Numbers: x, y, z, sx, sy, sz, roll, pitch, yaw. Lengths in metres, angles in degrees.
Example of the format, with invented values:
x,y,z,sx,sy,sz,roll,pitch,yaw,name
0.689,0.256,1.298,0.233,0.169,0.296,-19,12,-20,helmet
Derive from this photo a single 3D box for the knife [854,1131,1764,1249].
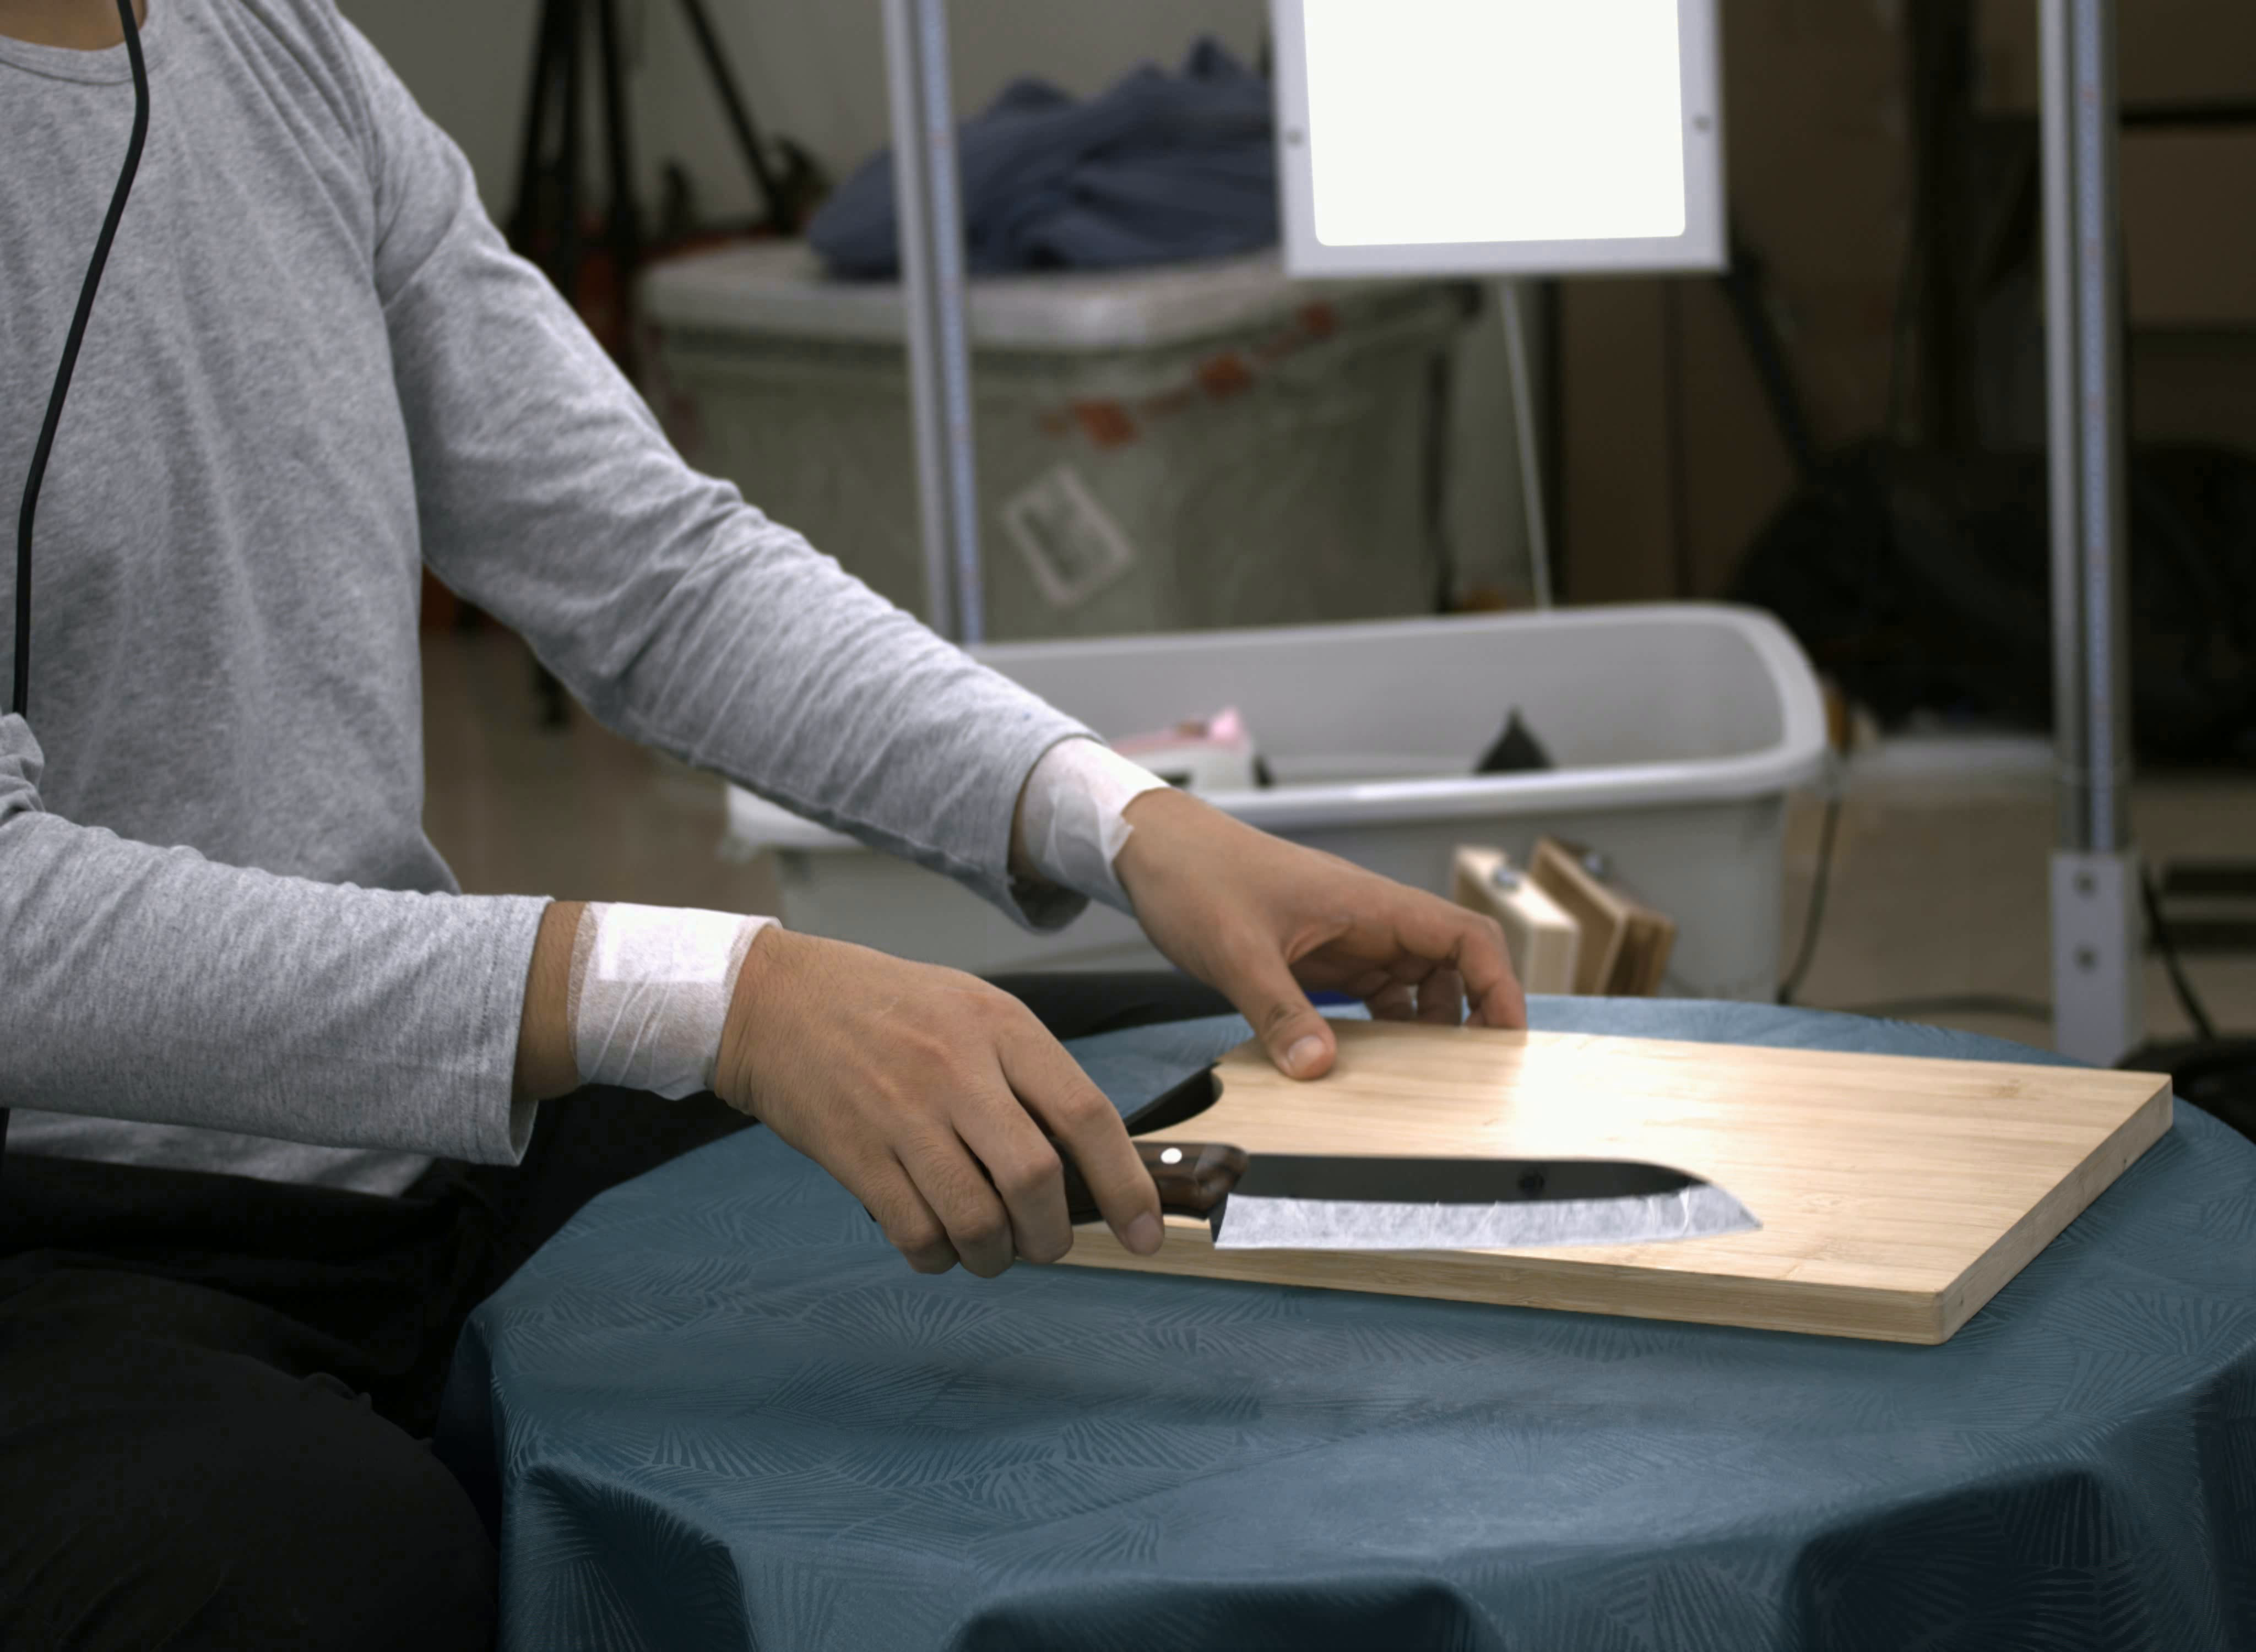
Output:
x,y,z,sx,sy,sz,roll,pitch,yaw,name
0.052,0.112,1.688,0.292,0.020,0.050,0,43,17,knife

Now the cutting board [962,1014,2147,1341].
x,y,z,sx,sy,sz,roll,pitch,yaw,name
0.150,0.115,1.863,0.355,0.023,0.245,2,15,29,cutting board
